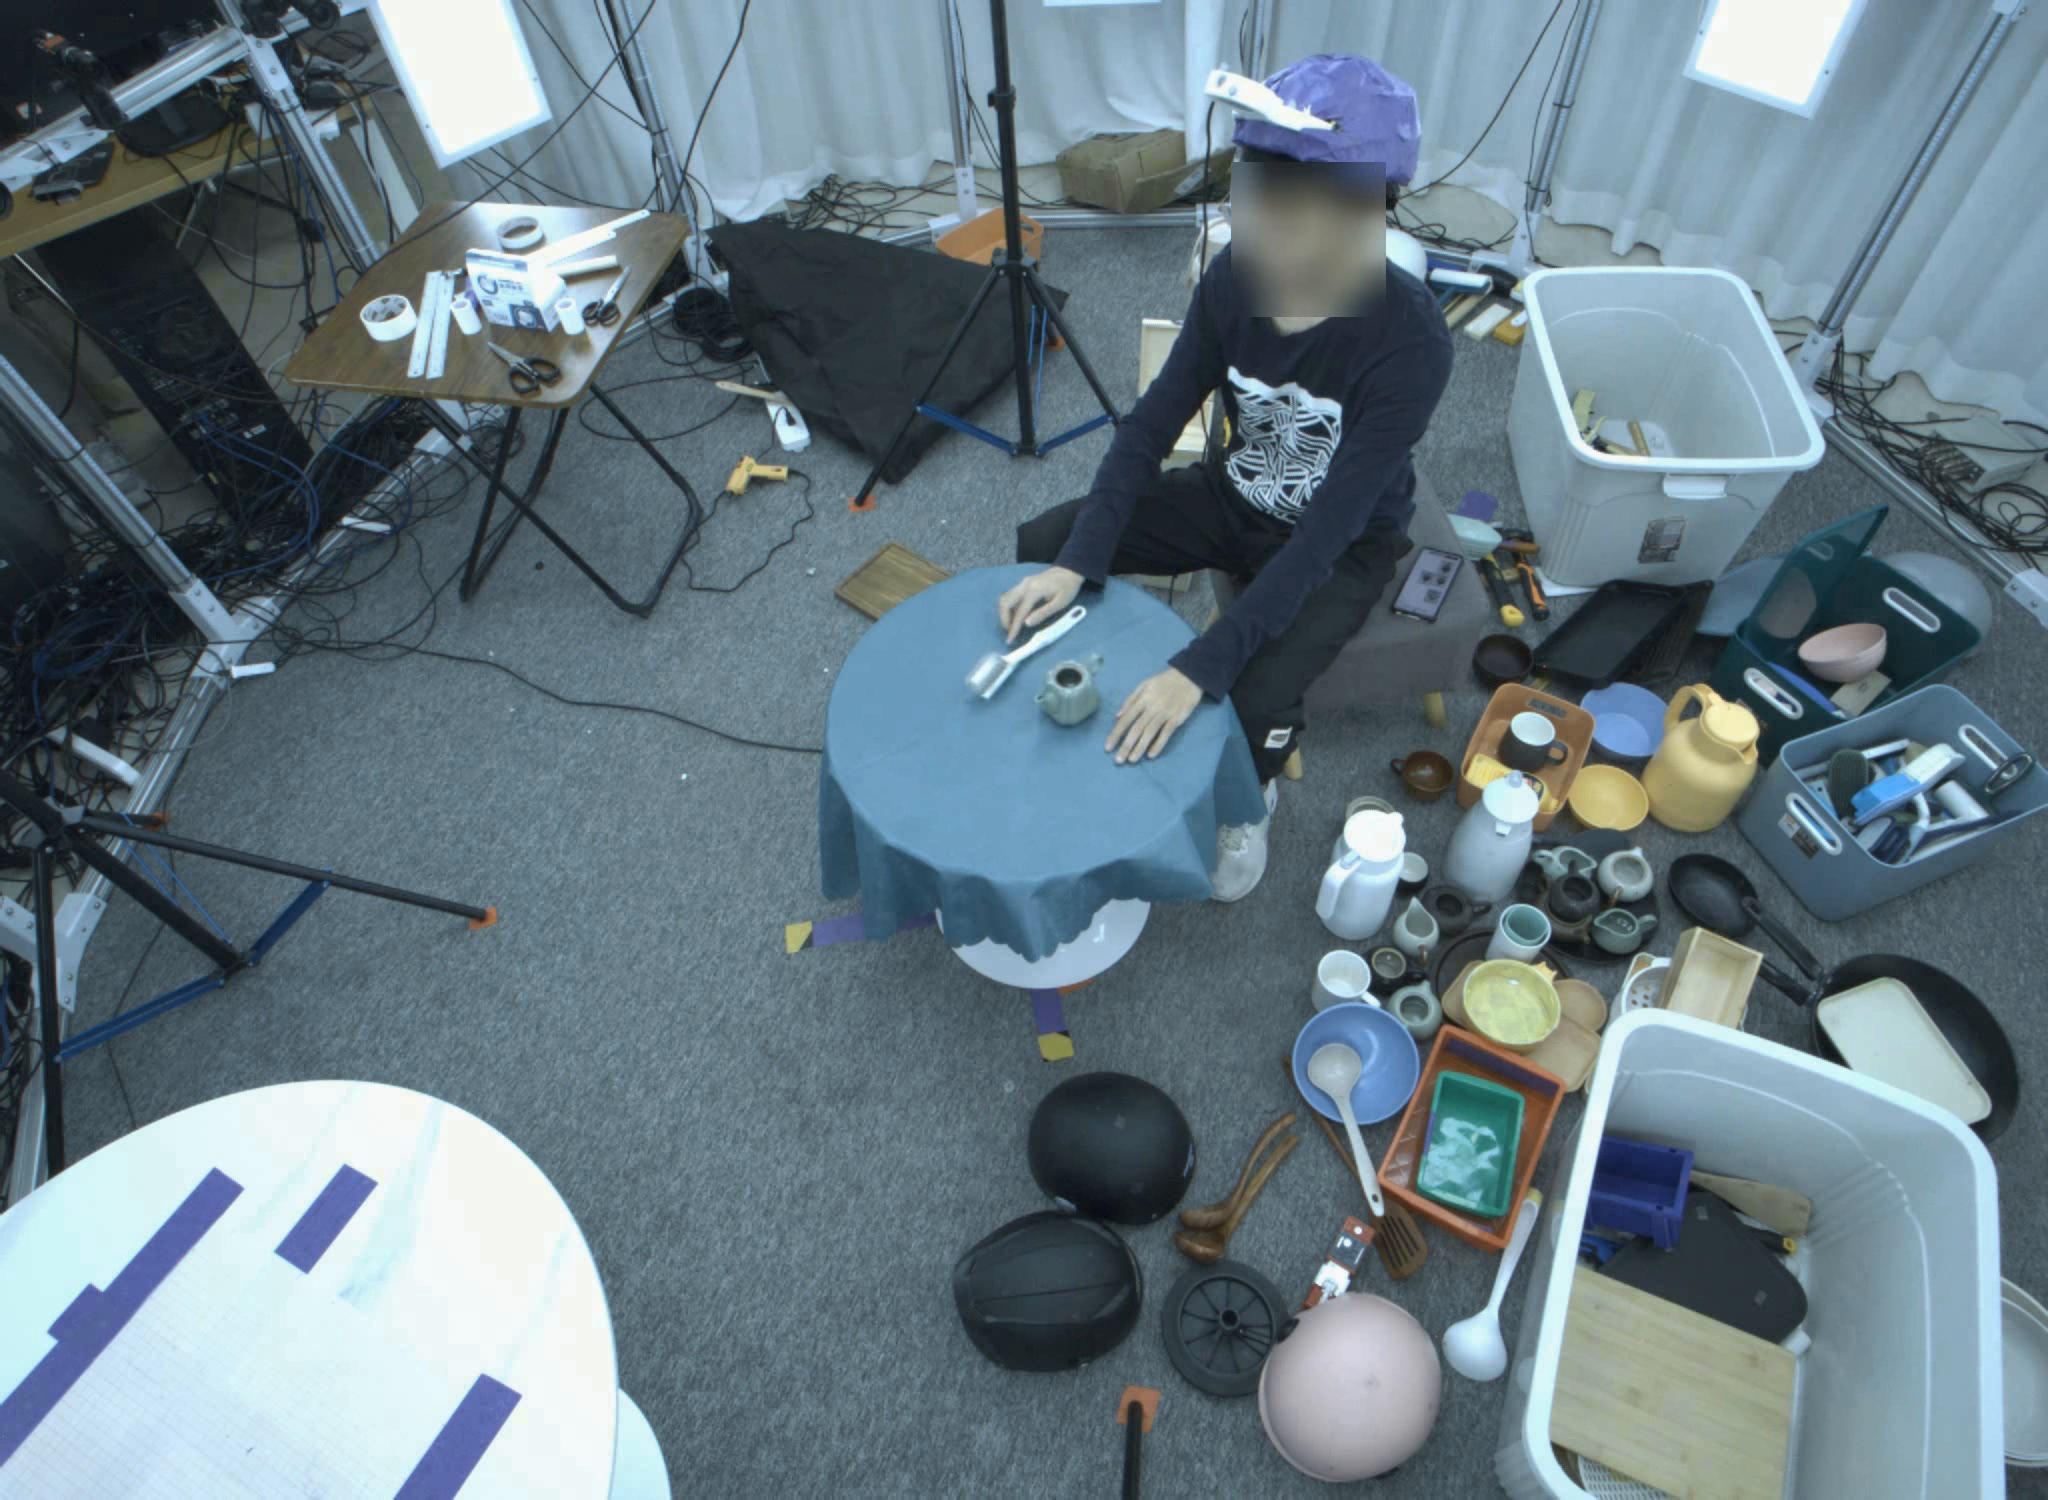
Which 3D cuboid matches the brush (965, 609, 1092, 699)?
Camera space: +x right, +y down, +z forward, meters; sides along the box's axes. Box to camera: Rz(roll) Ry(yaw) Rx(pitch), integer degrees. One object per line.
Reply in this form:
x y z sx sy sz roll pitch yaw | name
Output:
0.010 -0.160 1.864 0.245 0.051 0.033 -38 54 -22 | brush

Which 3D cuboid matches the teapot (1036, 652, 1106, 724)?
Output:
0.069 -0.087 1.794 0.133 0.076 0.078 -38 60 -22 | teapot
